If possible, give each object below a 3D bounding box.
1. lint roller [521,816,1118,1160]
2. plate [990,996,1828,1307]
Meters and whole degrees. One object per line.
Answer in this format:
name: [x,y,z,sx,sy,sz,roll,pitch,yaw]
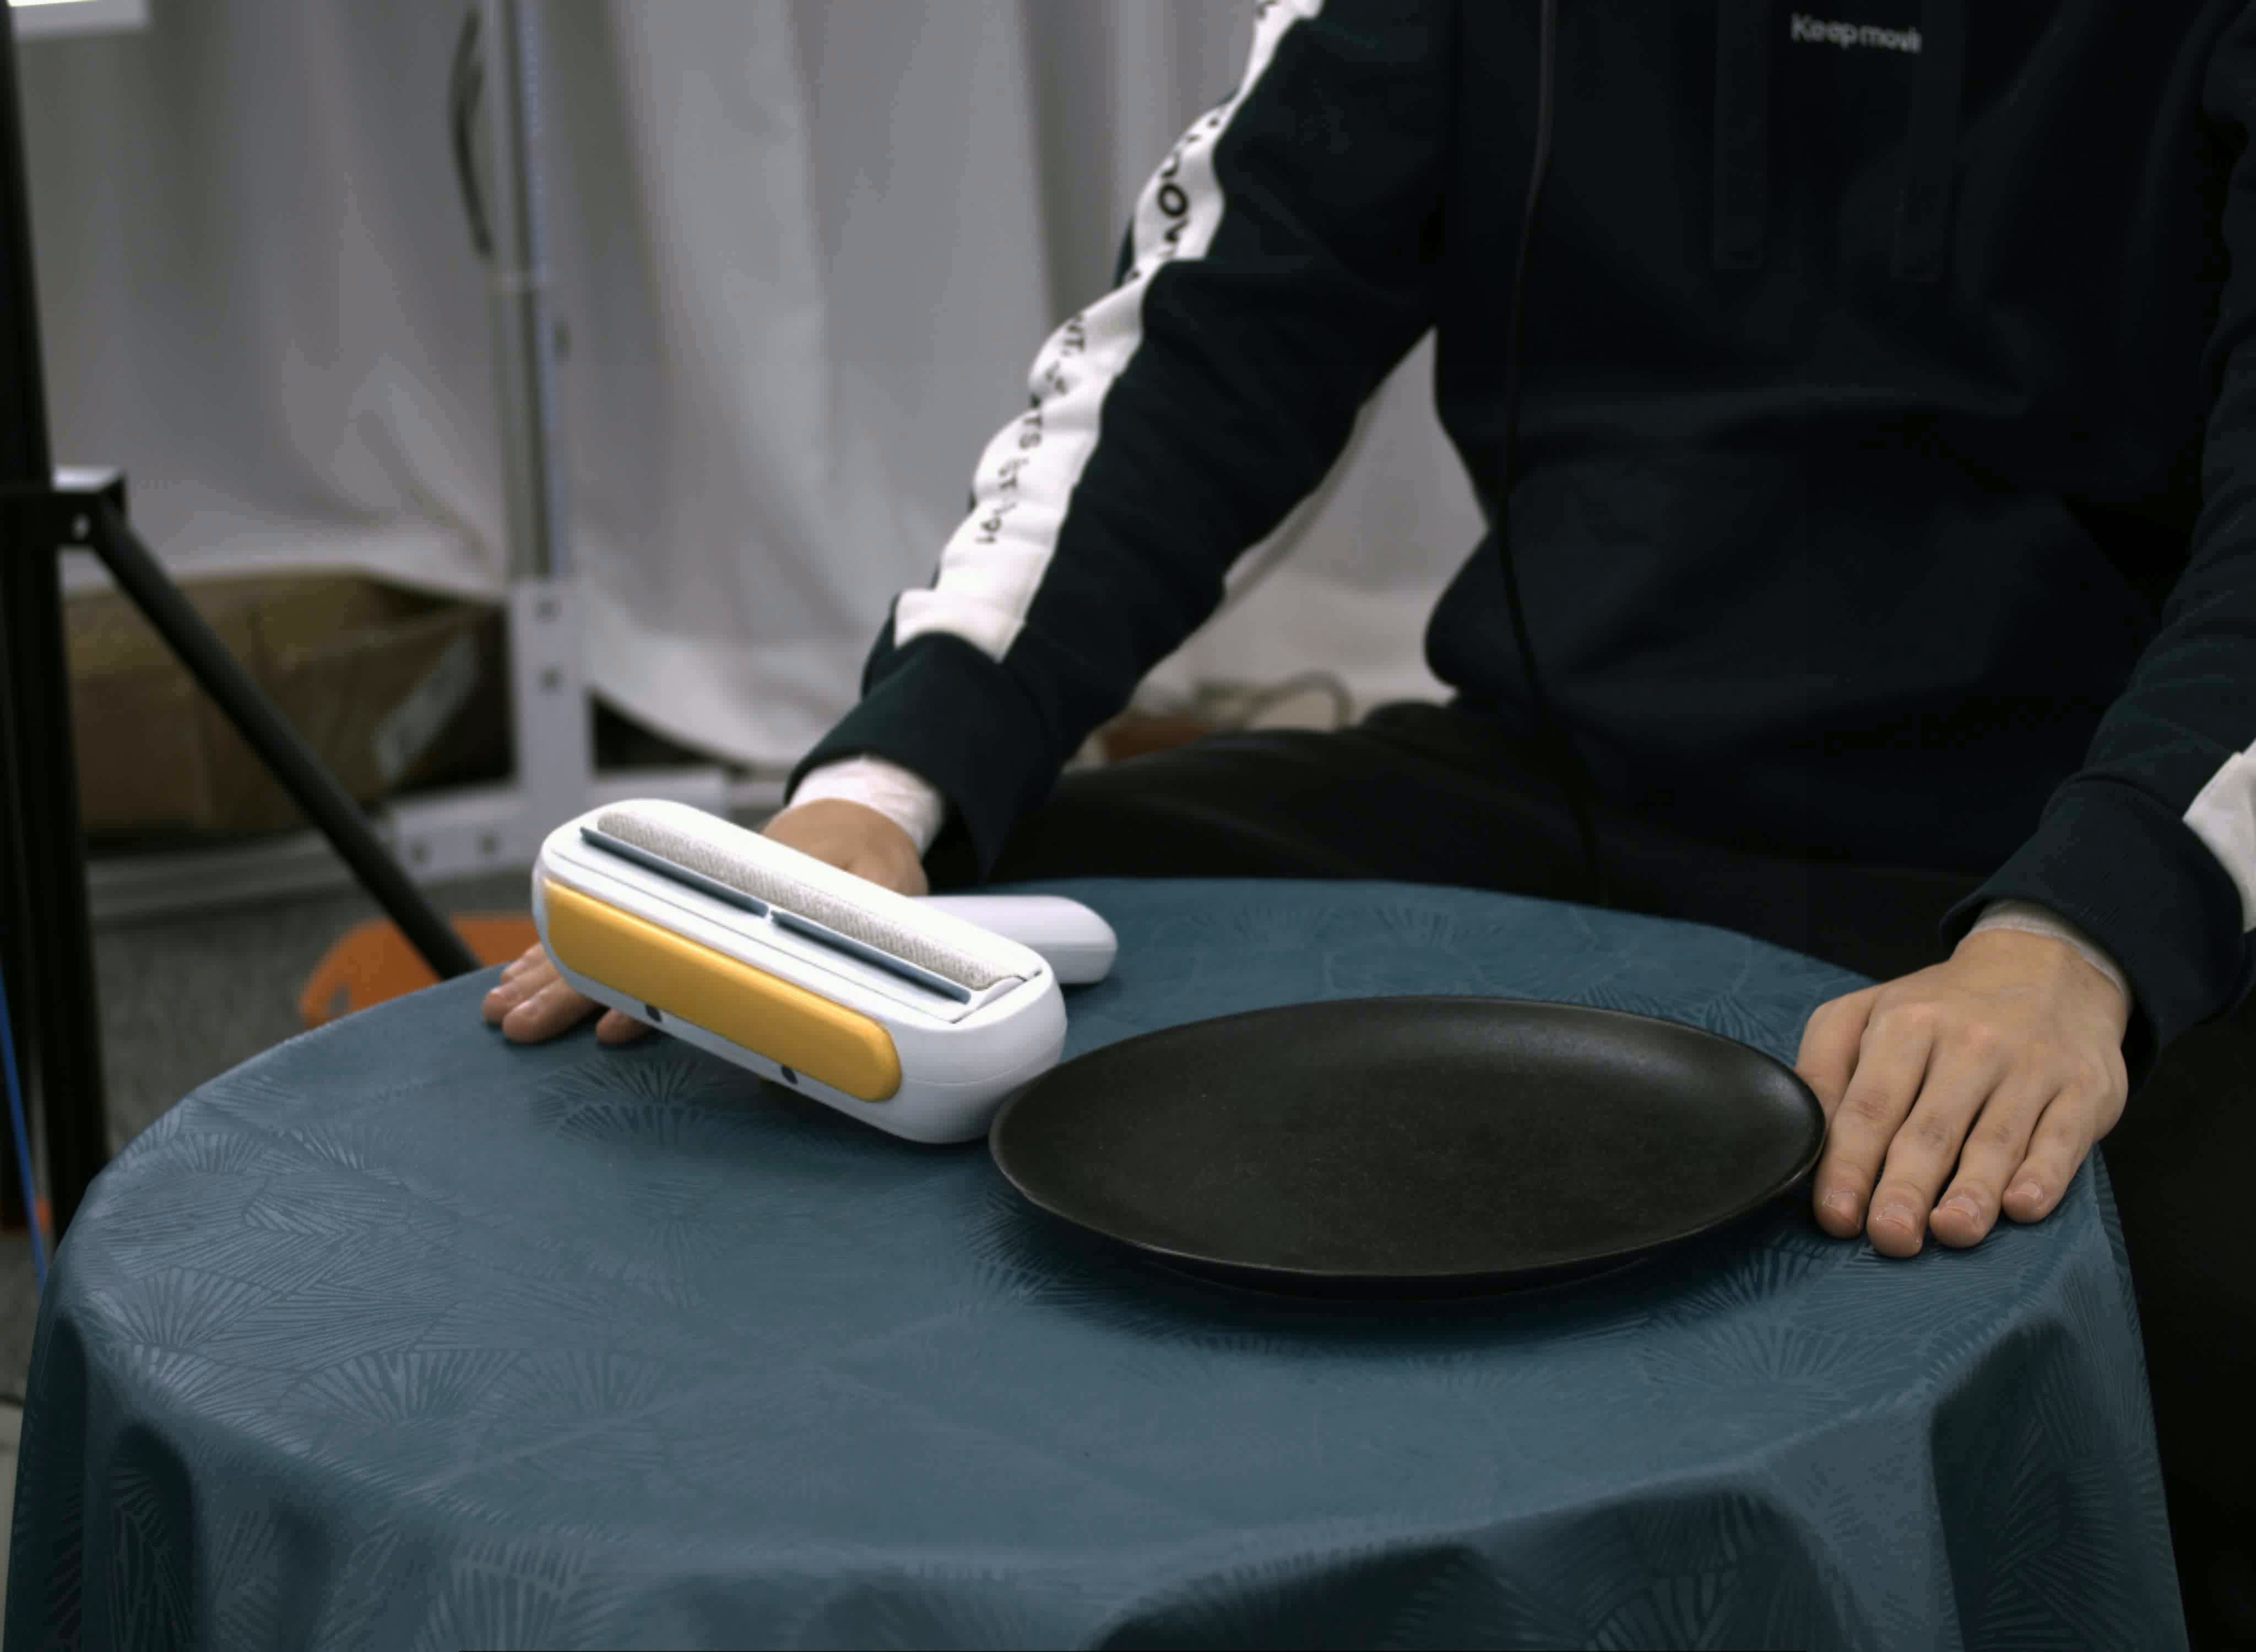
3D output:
lint roller: [-0.073,0.056,1.698,0.197,0.074,0.187,21,13,42]
plate: [0.081,0.097,1.541,0.243,0.023,0.245,-3,16,0]
